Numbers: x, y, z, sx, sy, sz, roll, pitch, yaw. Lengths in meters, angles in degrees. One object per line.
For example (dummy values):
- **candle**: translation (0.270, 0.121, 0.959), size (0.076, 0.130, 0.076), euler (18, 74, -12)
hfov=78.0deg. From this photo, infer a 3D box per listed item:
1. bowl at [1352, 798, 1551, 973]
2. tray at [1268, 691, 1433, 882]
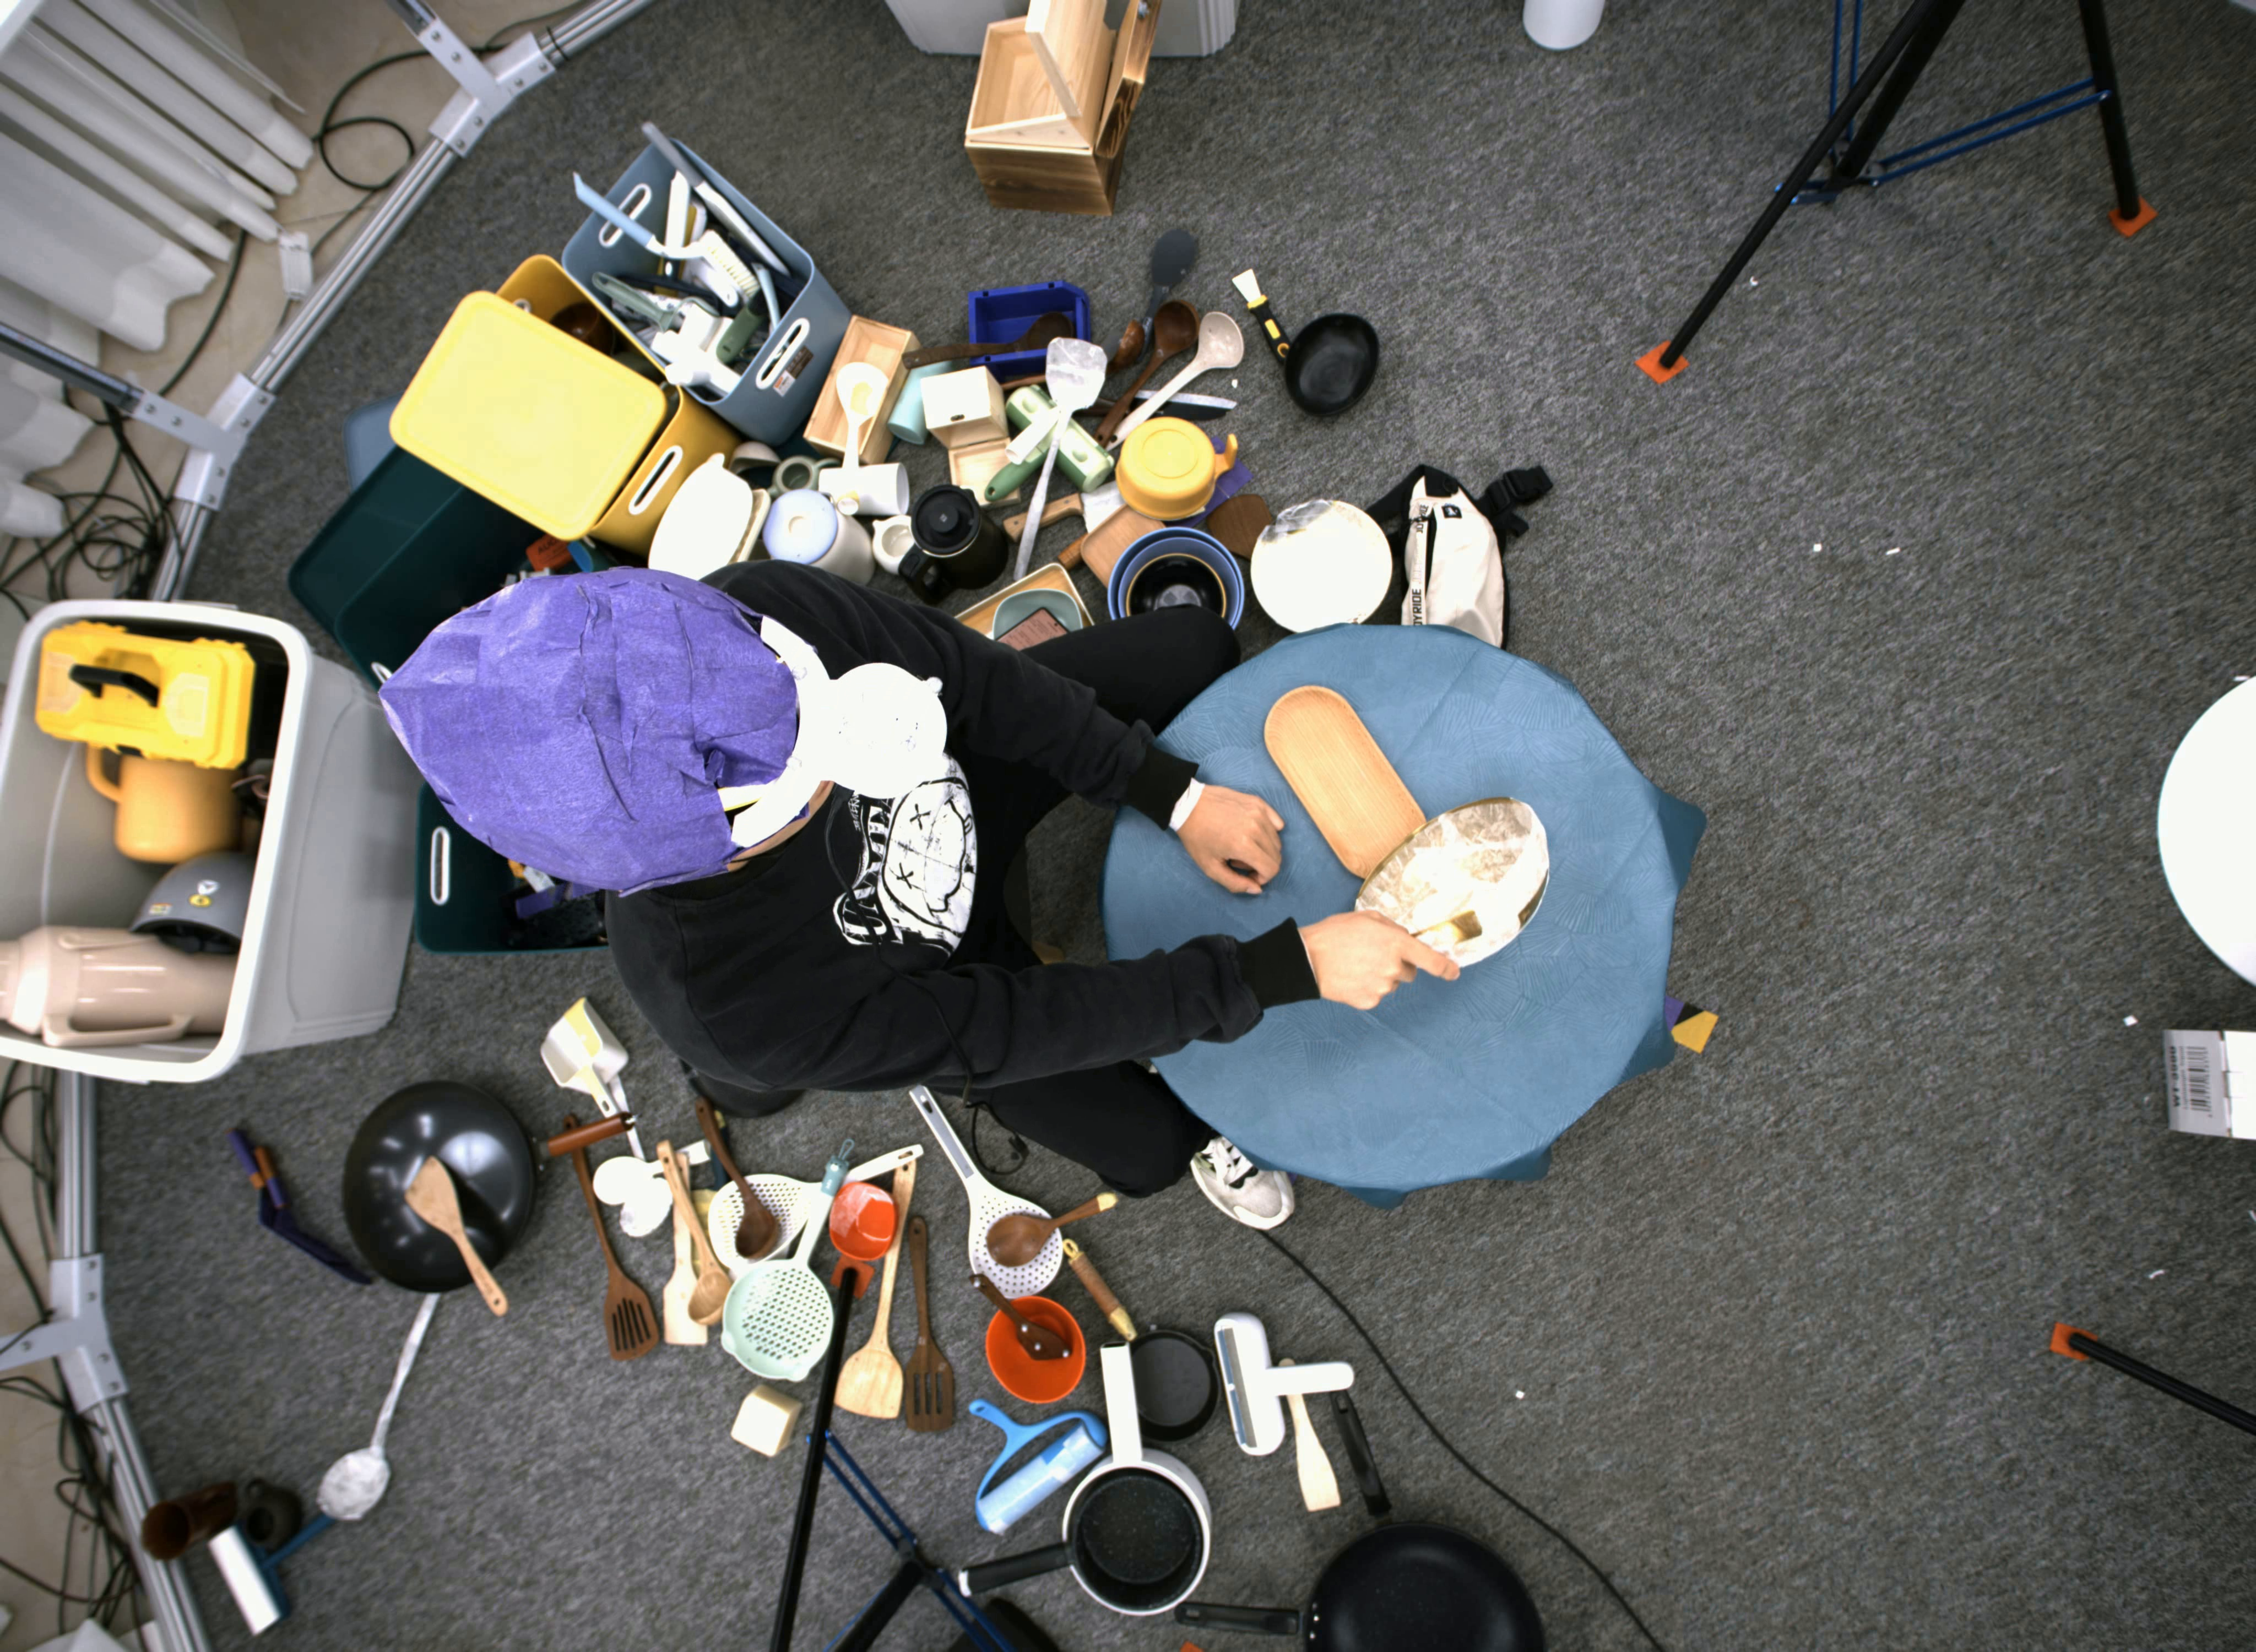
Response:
- **bowl**: translation (0.329, 0.072, 1.351), size (0.215, 0.212, 0.095), euler (-39, 110, 4)
- **tray**: translation (0.237, -0.041, 1.471), size (0.102, 0.020, 0.230), euler (-35, 83, 8)
